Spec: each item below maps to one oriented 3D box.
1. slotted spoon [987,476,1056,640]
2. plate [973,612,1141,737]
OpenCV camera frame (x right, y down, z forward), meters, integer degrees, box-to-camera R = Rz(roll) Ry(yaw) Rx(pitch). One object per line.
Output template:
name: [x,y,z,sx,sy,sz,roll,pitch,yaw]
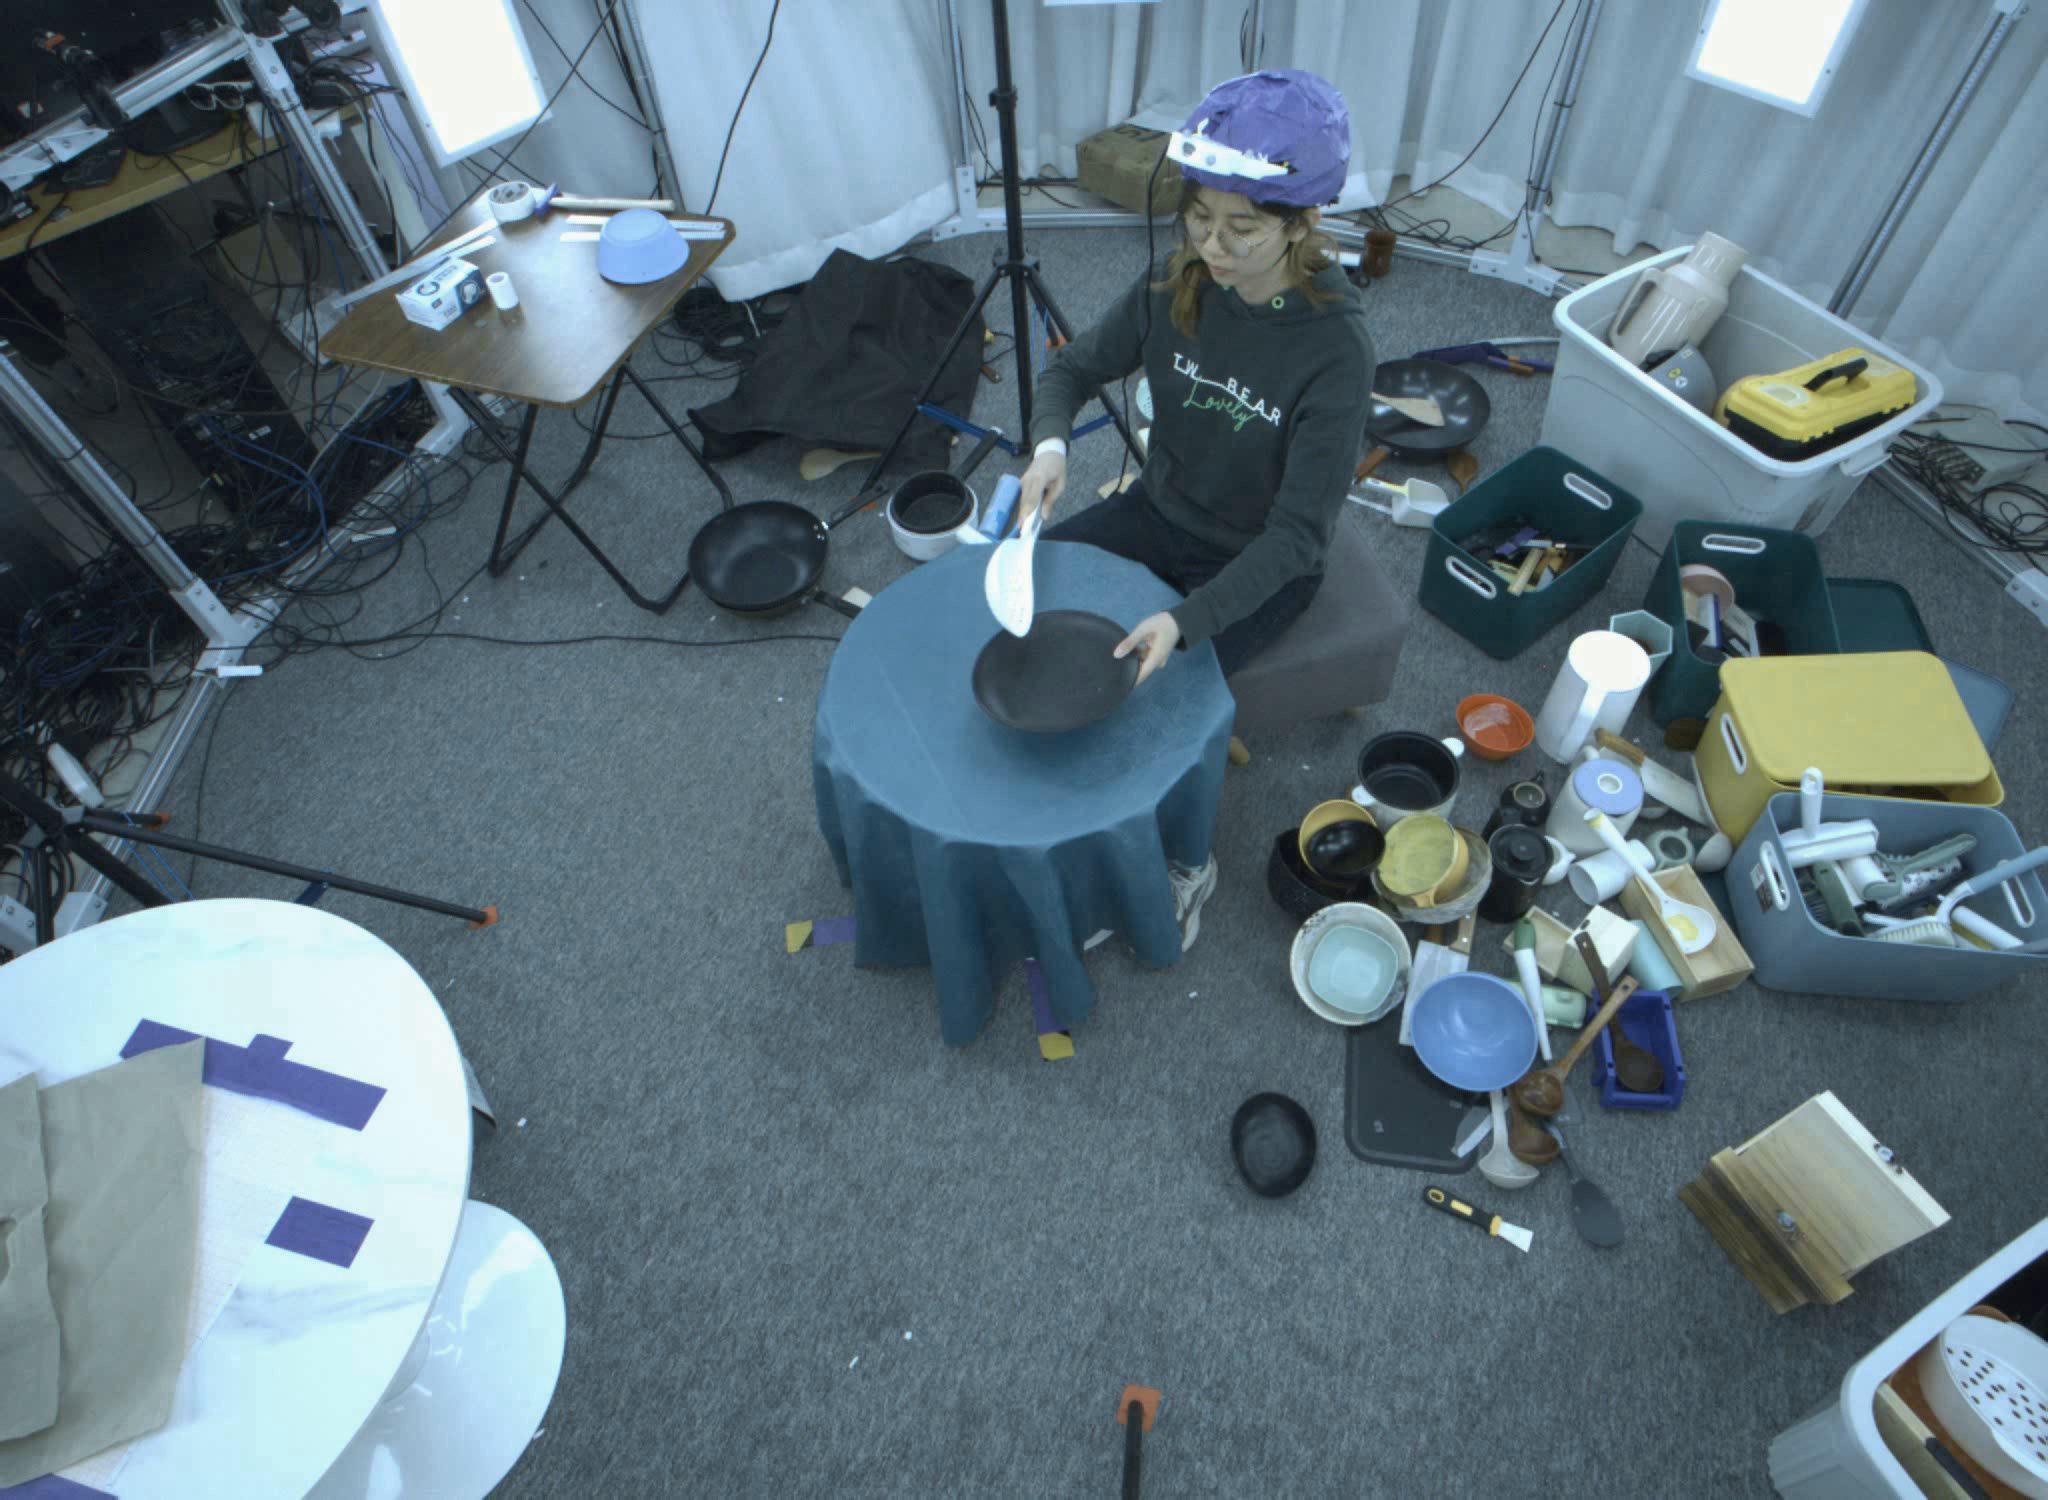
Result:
slotted spoon: [0.004,-0.298,1.802,0.045,0.138,0.349,1,46,23]
plate: [0.048,-0.106,1.775,0.243,0.024,0.242,-4,51,6]
